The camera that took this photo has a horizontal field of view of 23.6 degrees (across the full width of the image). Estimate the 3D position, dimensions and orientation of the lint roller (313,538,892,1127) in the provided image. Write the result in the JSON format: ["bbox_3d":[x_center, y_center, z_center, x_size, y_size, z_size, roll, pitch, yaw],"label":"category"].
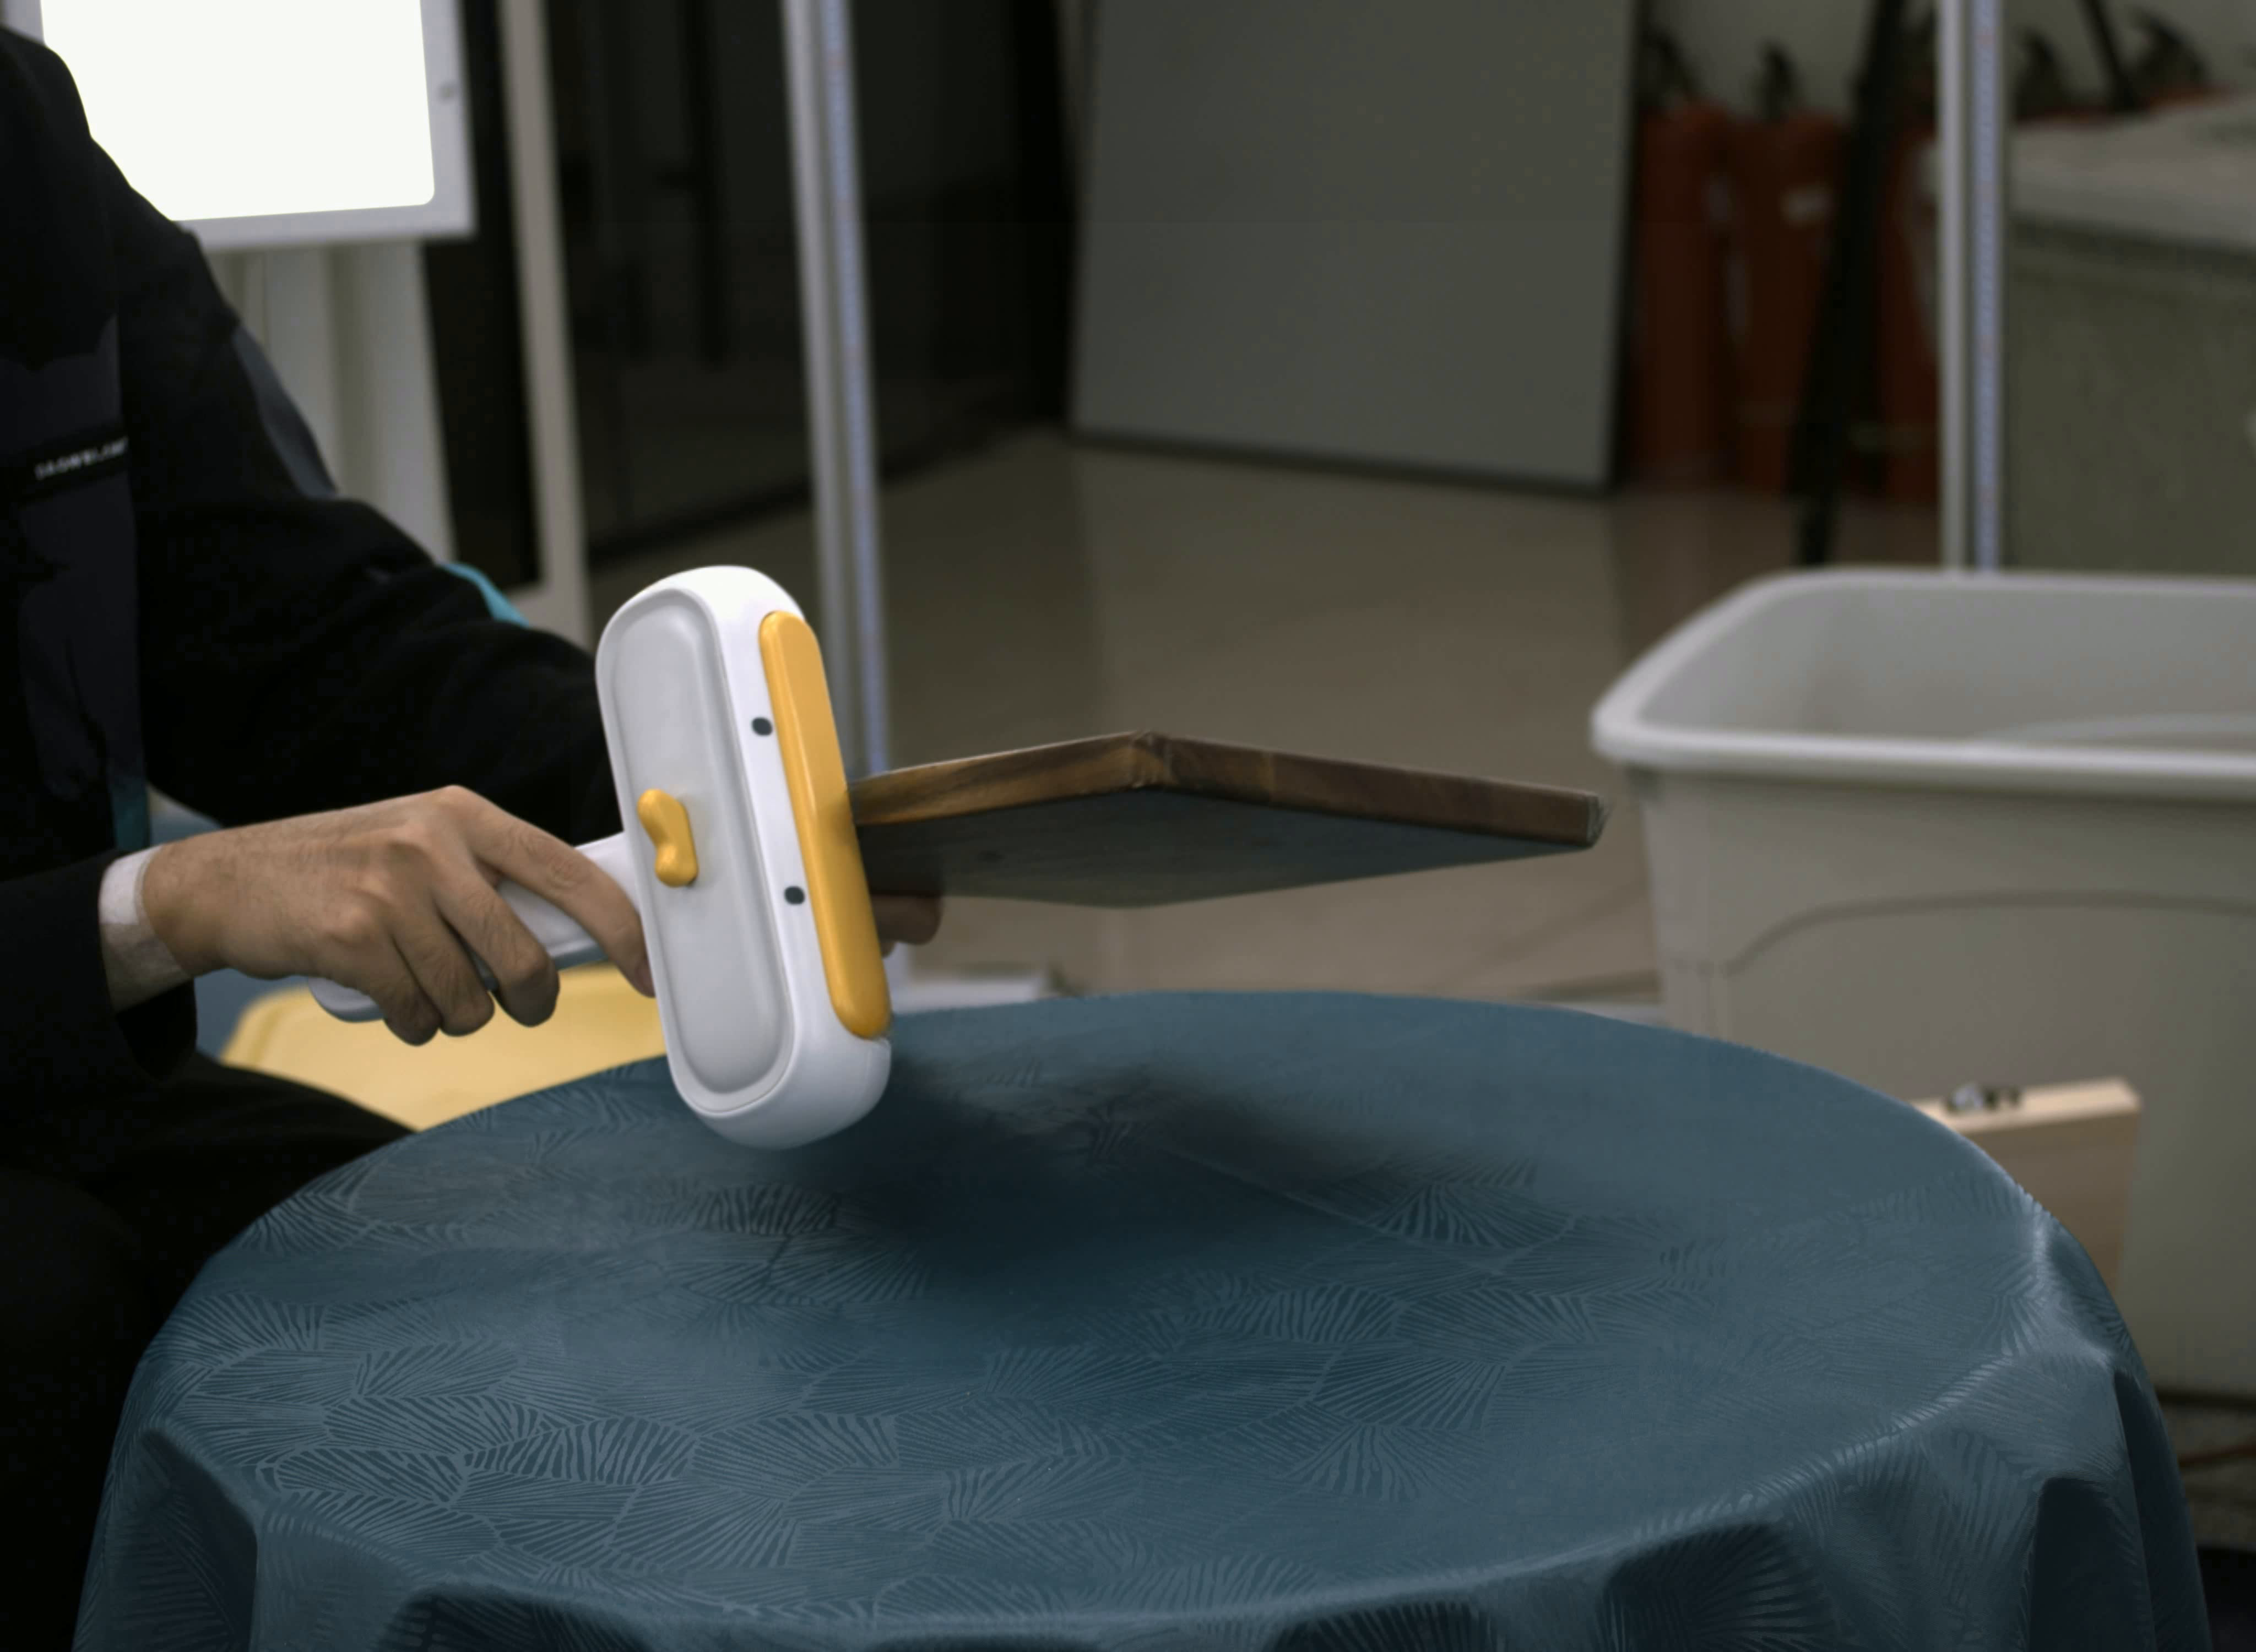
[{"bbox_3d":[-0.177,0.024,1.756,0.193,0.195,0.073,-26,-17,26],"label":"lint roller"}]

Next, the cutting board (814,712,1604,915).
[{"bbox_3d":[-0.027,0.004,1.809,0.196,0.023,0.355,8,-12,-38],"label":"cutting board"}]
